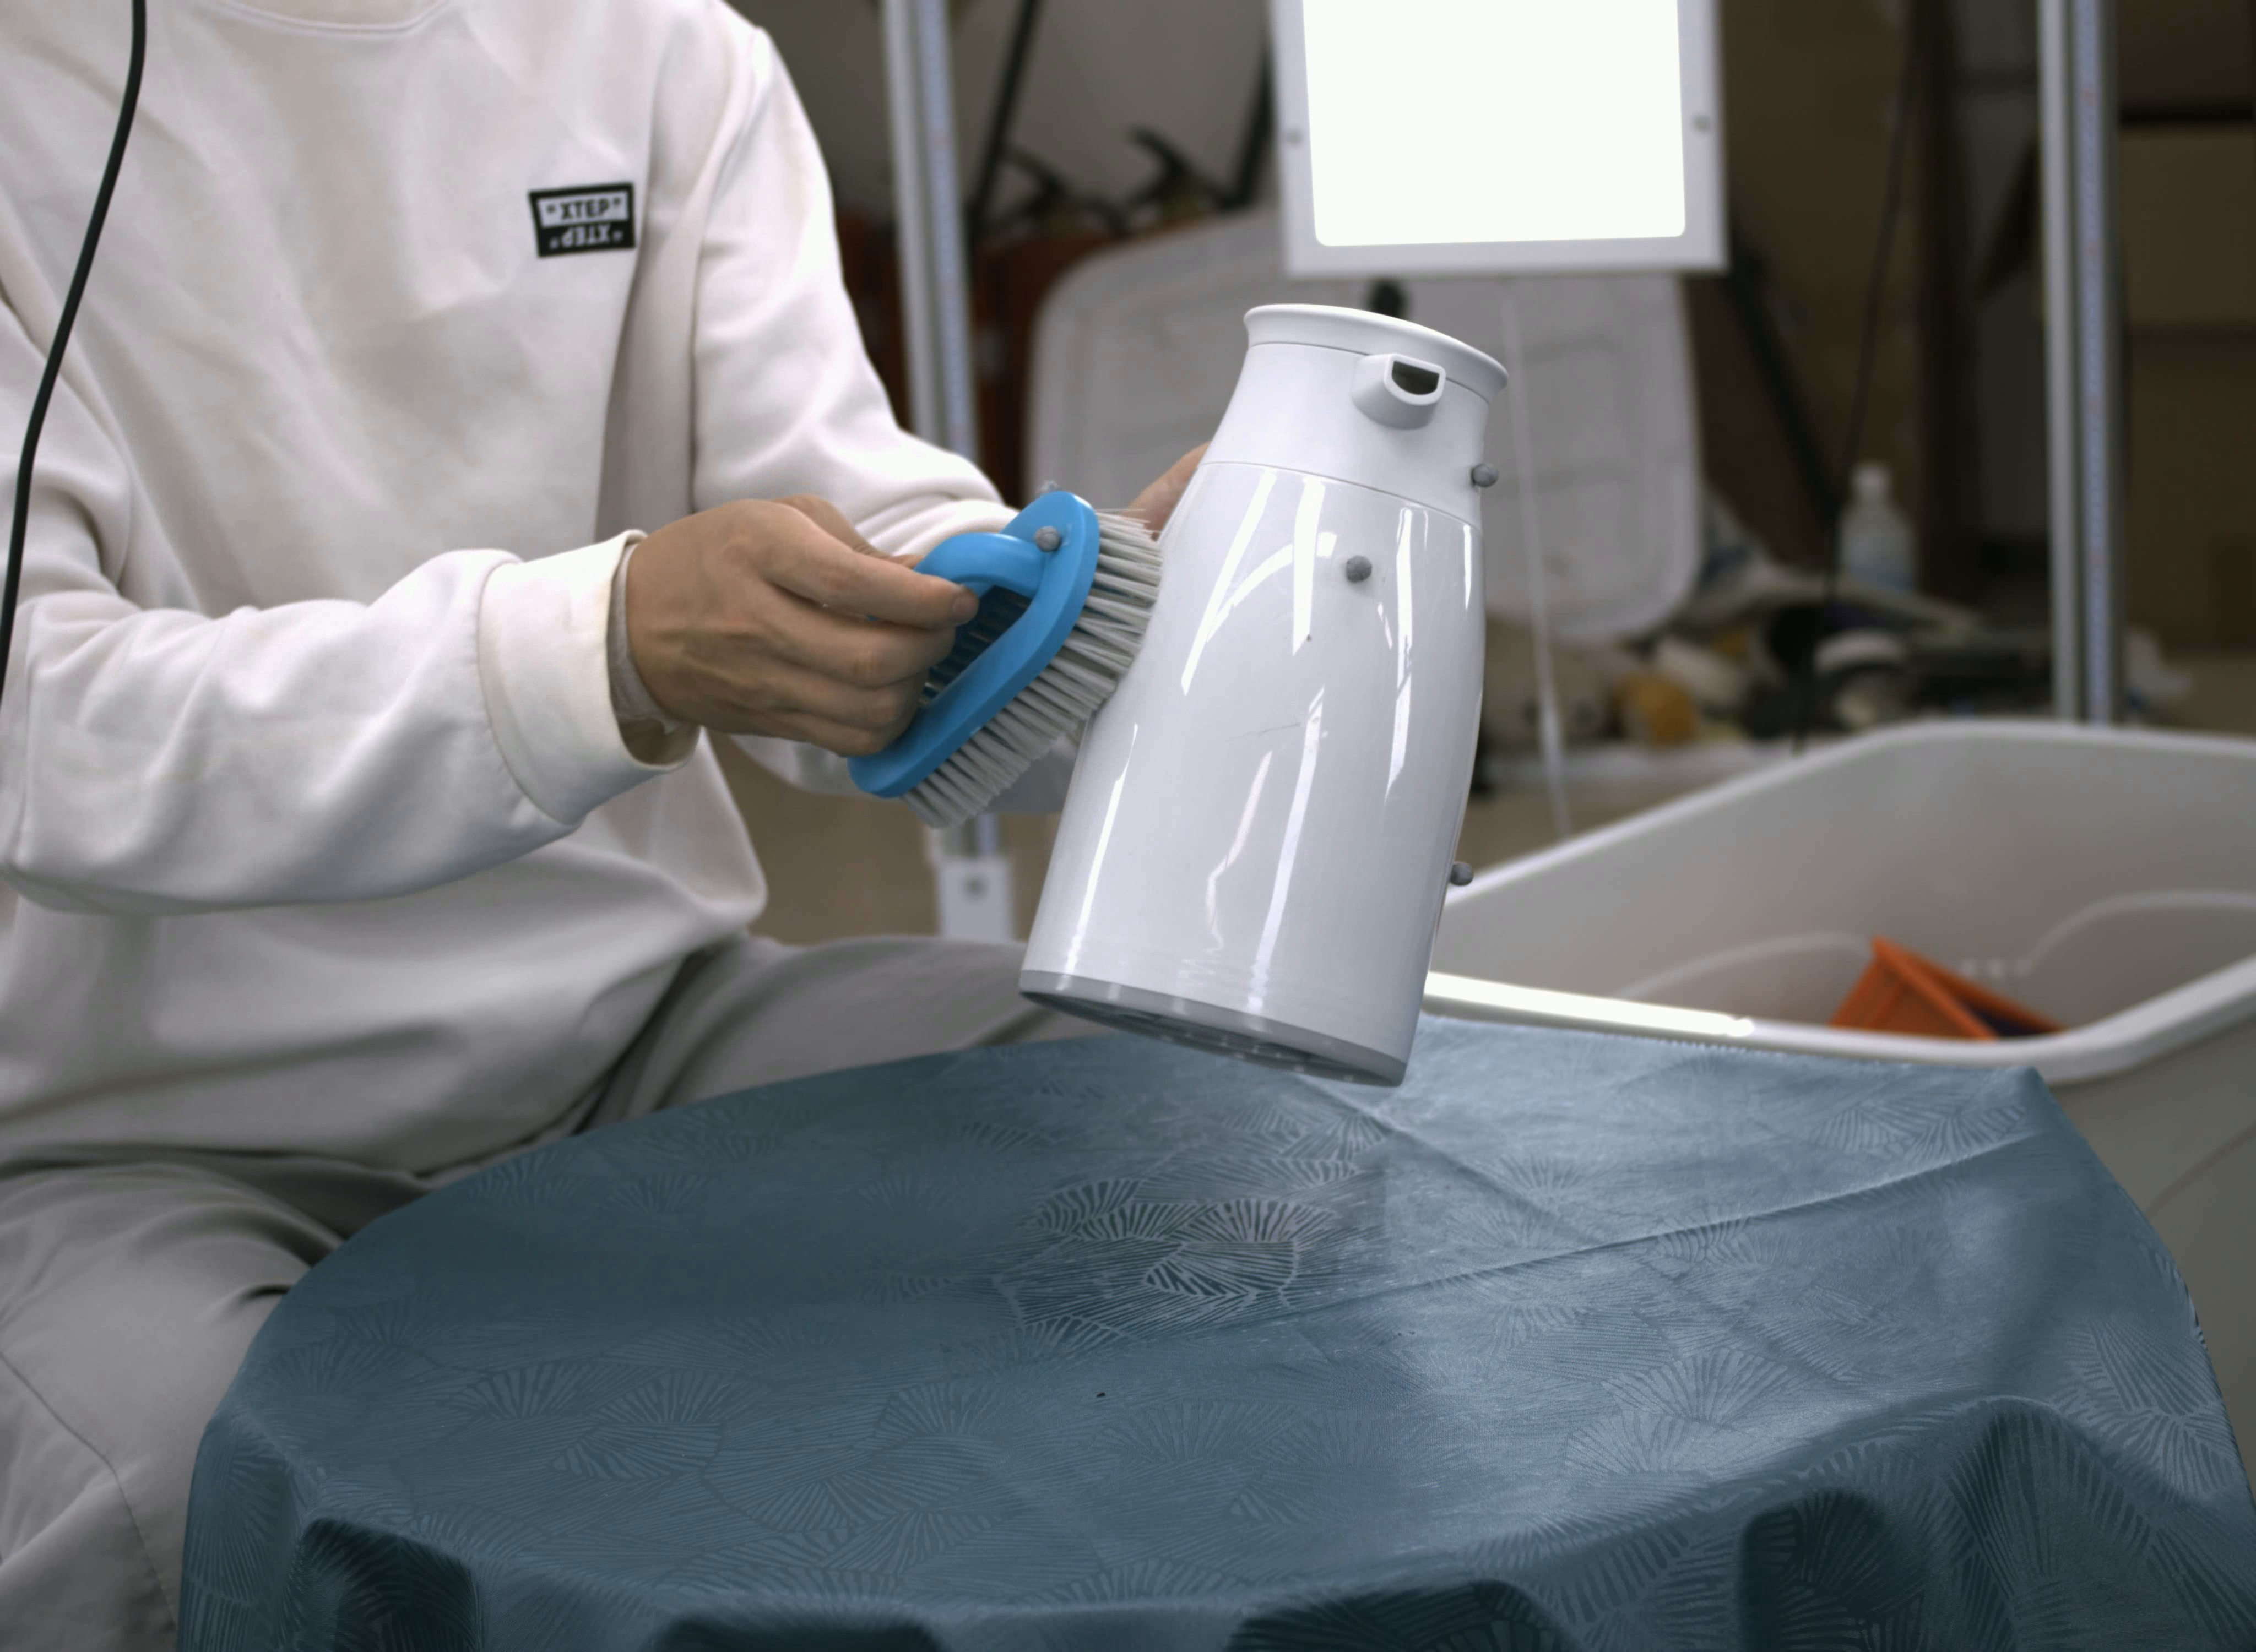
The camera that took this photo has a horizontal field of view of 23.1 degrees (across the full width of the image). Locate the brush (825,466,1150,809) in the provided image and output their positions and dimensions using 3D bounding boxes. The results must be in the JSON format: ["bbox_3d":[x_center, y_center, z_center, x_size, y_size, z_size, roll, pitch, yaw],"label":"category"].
[{"bbox_3d":[-0.057,-0.065,1.837,0.062,0.084,0.145,22,-40,-28],"label":"brush"}]

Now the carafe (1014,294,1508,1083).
[{"bbox_3d":[0.050,-0.050,1.845,0.131,0.249,0.169,15,-6,-12],"label":"carafe"}]
